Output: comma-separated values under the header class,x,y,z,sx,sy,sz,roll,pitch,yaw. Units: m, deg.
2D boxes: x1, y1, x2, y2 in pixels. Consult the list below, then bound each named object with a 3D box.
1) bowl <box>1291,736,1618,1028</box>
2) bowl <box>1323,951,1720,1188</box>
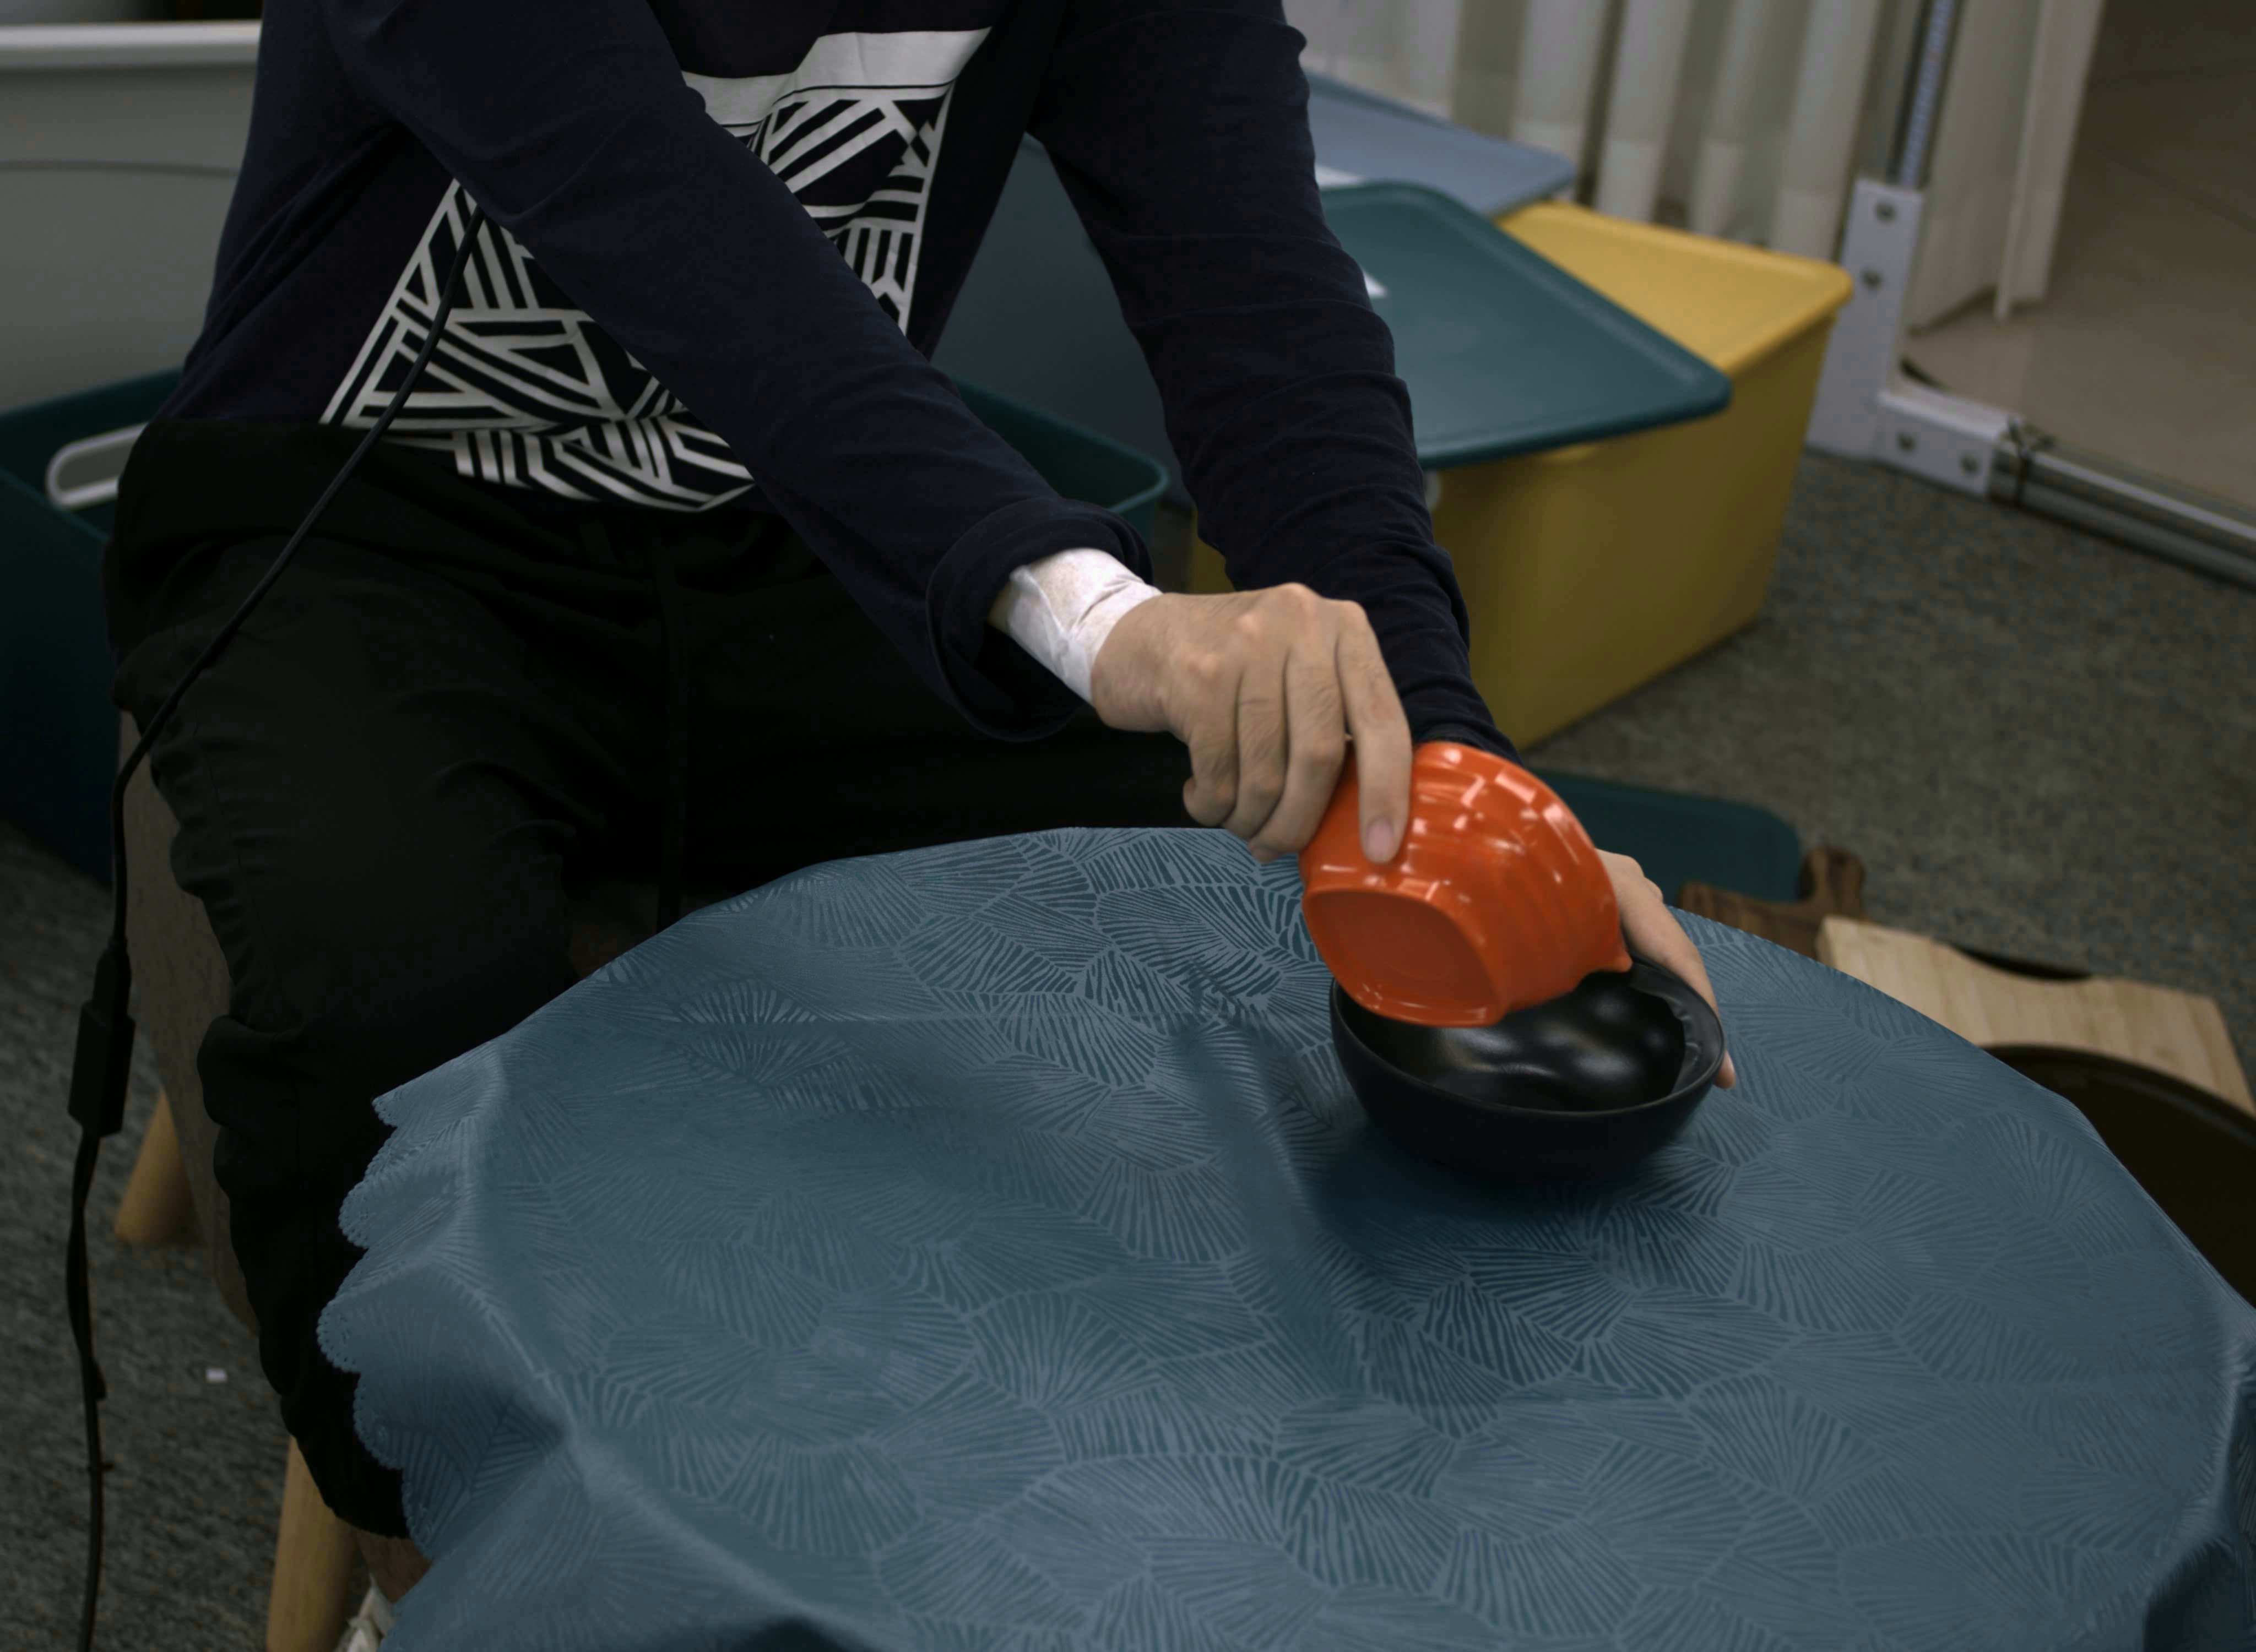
class,x,y,z,sx,sy,sz,roll,pitch,yaw
bowl,0.100,0.026,1.759,0.119,0.118,0.051,19,58,23
bowl,0.135,0.089,1.857,0.139,0.049,0.141,4,23,-2
